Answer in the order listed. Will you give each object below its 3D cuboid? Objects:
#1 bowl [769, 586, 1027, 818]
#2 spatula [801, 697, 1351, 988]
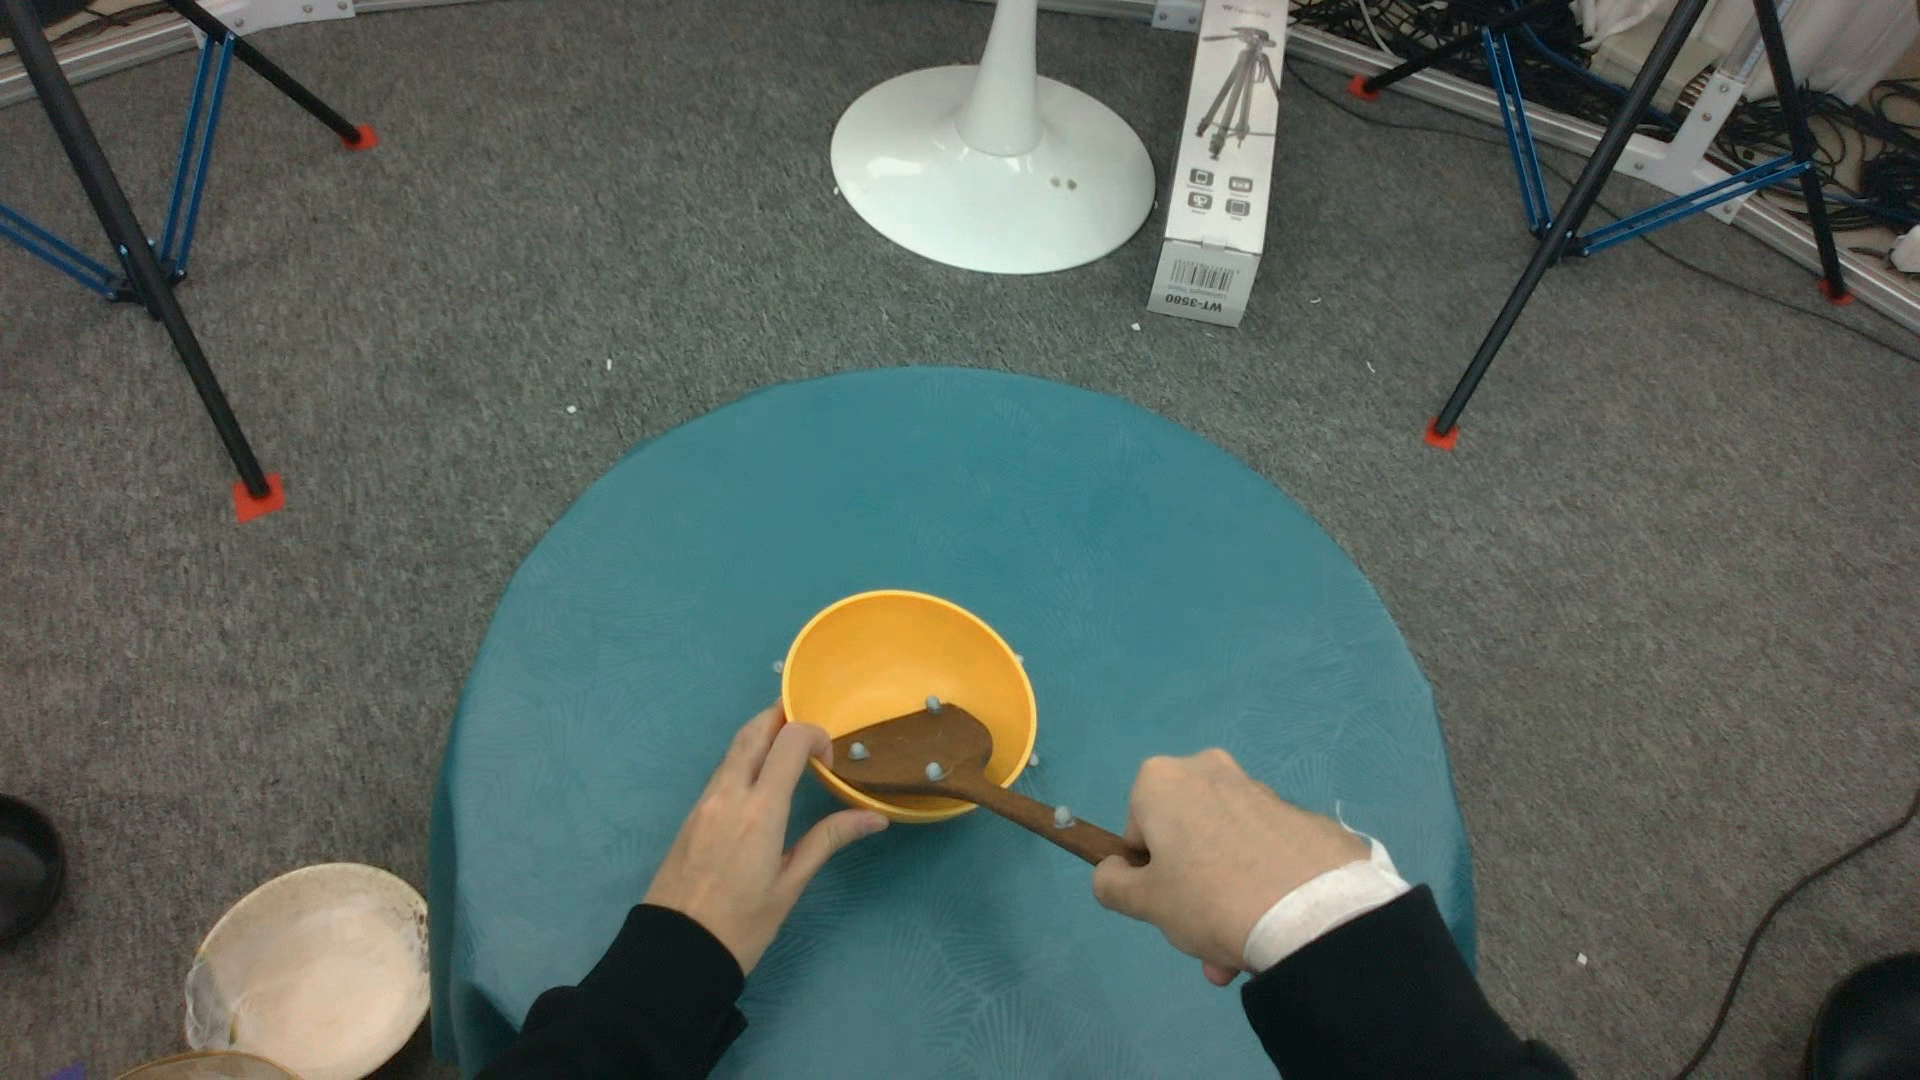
[{"bbox_3d":[-0.039,0.100,0.779,0.145,0.060,0.146,9,50,-11],"label":"bowl"},{"bbox_3d":[0.034,0.123,0.620,0.096,0.016,0.385,-15,12,-27],"label":"spatula"}]
